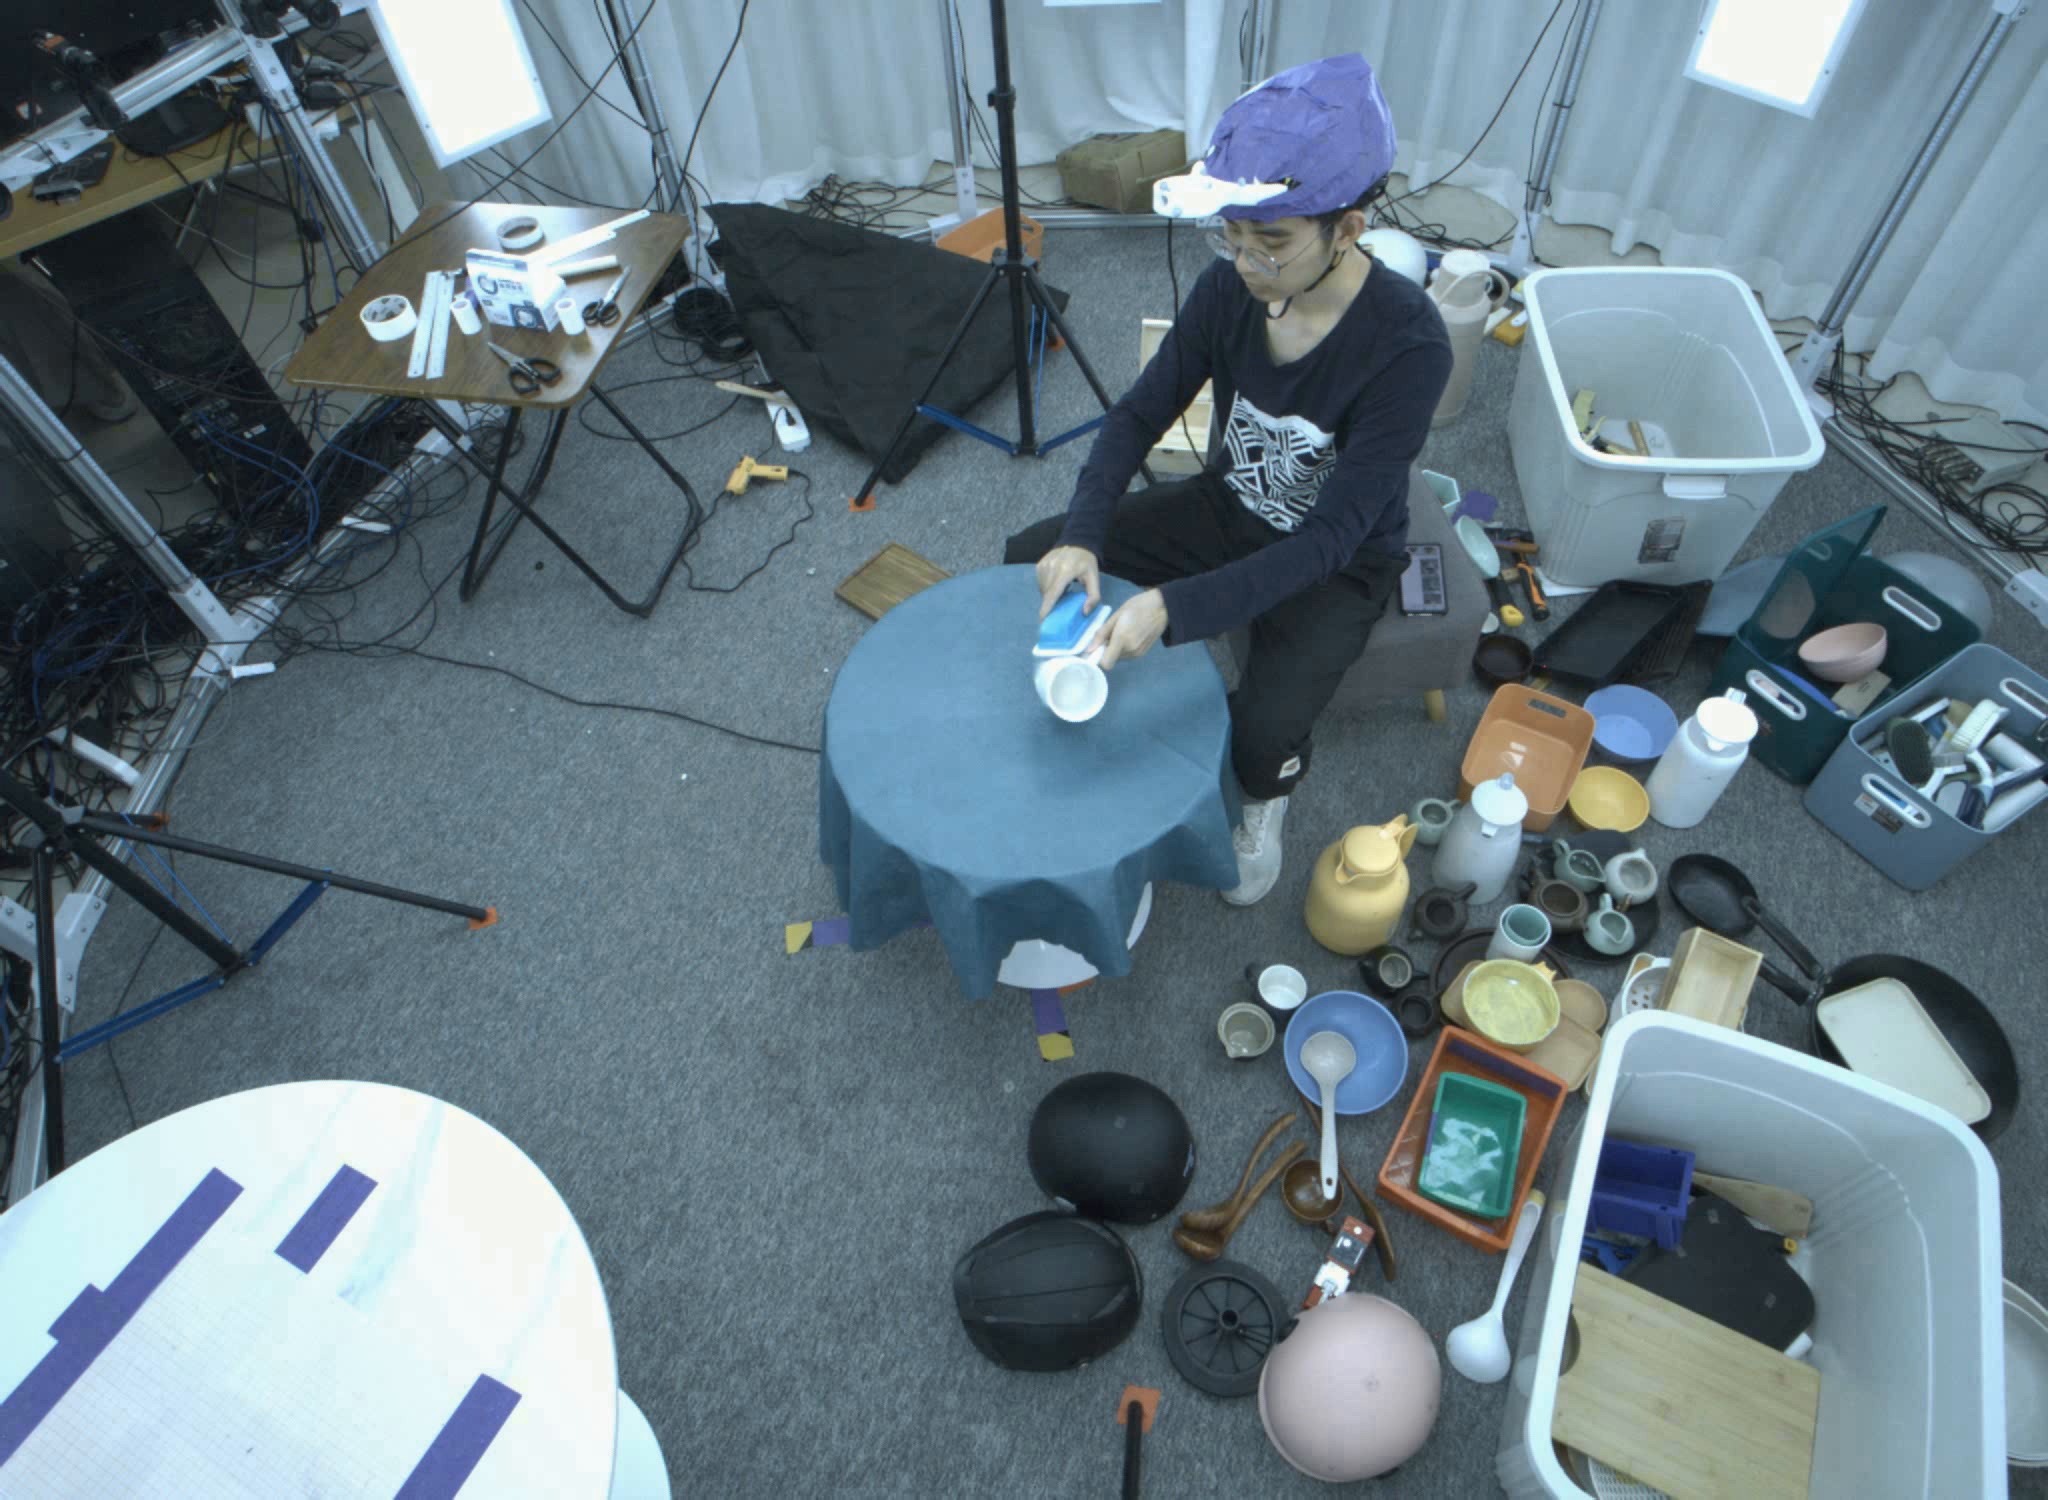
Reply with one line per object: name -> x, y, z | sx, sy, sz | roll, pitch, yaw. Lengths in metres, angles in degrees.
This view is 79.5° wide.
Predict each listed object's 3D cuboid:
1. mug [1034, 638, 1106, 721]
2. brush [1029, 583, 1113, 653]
mug -> 0.071, -0.106, 1.734 | 0.086, 0.100, 0.118 | 31, 95, -16
brush -> 0.067, -0.195, 1.775 | 0.082, 0.057, 0.144 | 8, 41, 28
